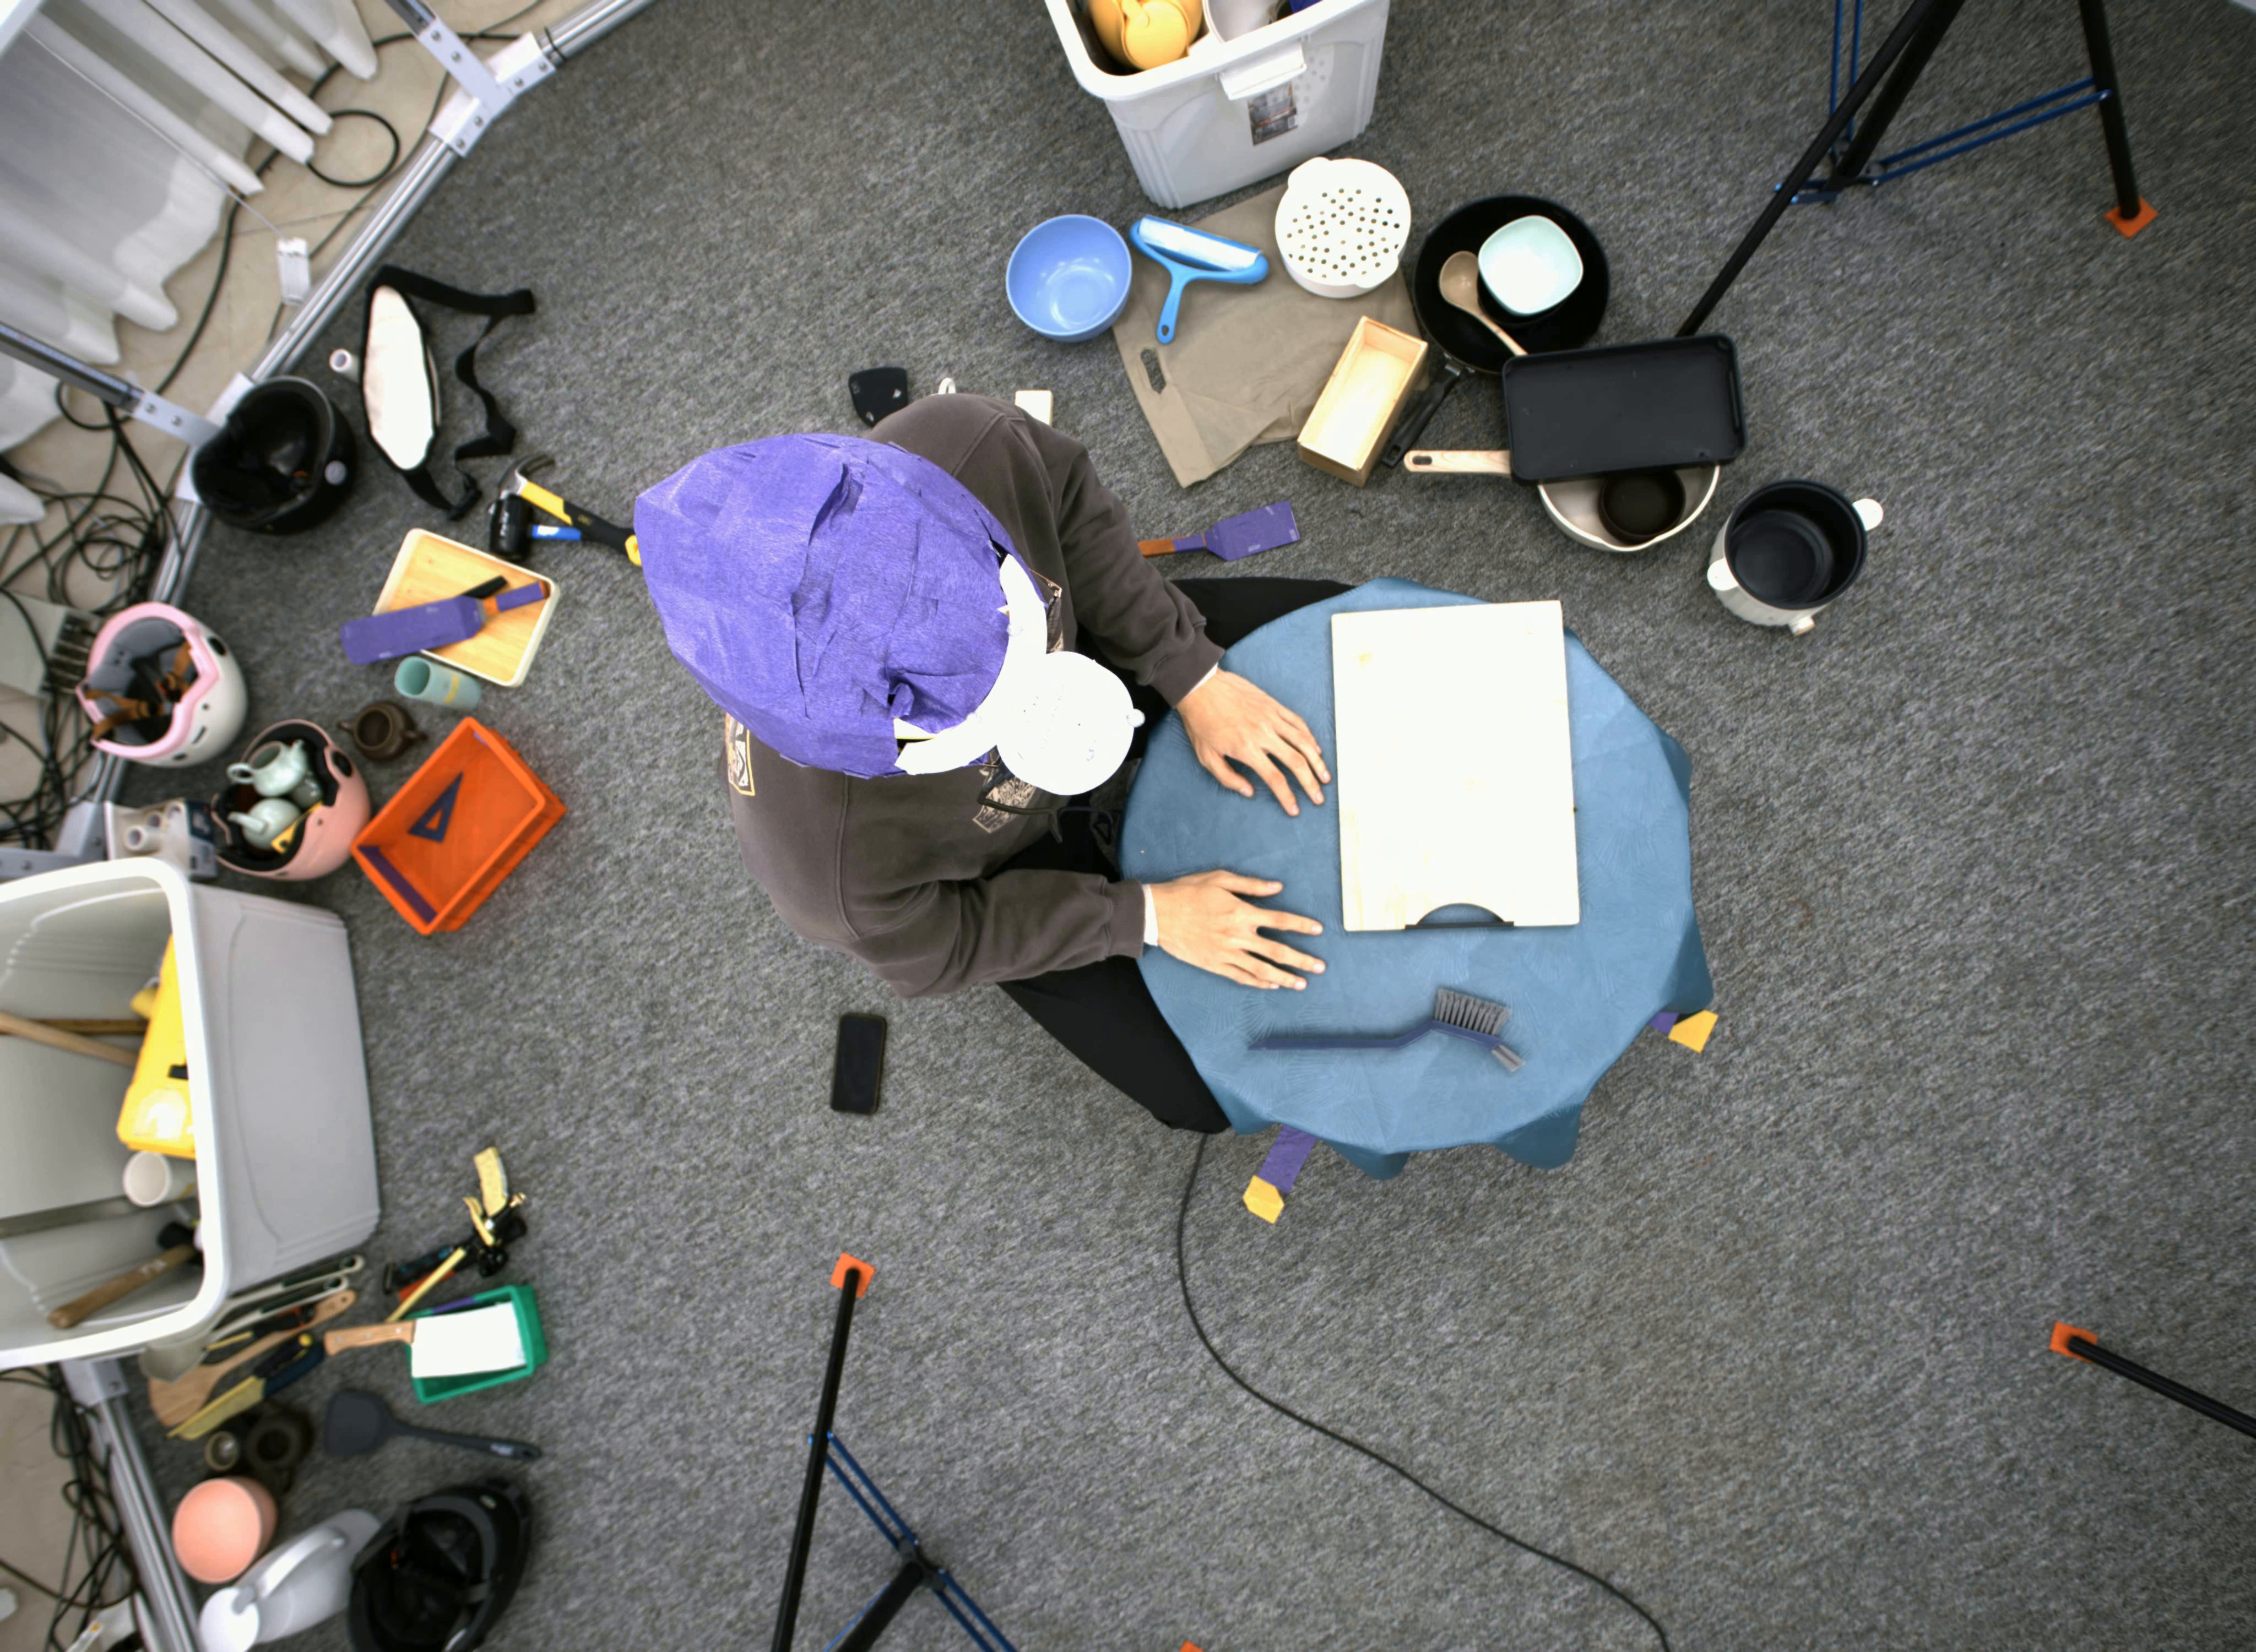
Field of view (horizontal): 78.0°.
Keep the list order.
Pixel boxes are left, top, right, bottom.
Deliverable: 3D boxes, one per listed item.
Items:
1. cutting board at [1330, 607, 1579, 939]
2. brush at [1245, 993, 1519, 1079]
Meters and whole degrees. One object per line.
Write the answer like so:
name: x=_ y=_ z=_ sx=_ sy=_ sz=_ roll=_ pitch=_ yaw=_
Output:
cutting board: x=0.340 y=-0.059 z=1.443 sx=0.252 sy=0.023 sz=0.347 roll=-3 pitch=87 yaw=11
brush: x=0.261 y=0.230 z=1.436 sx=0.274 sy=0.033 sz=0.095 roll=-9 pitch=85 yaw=9
